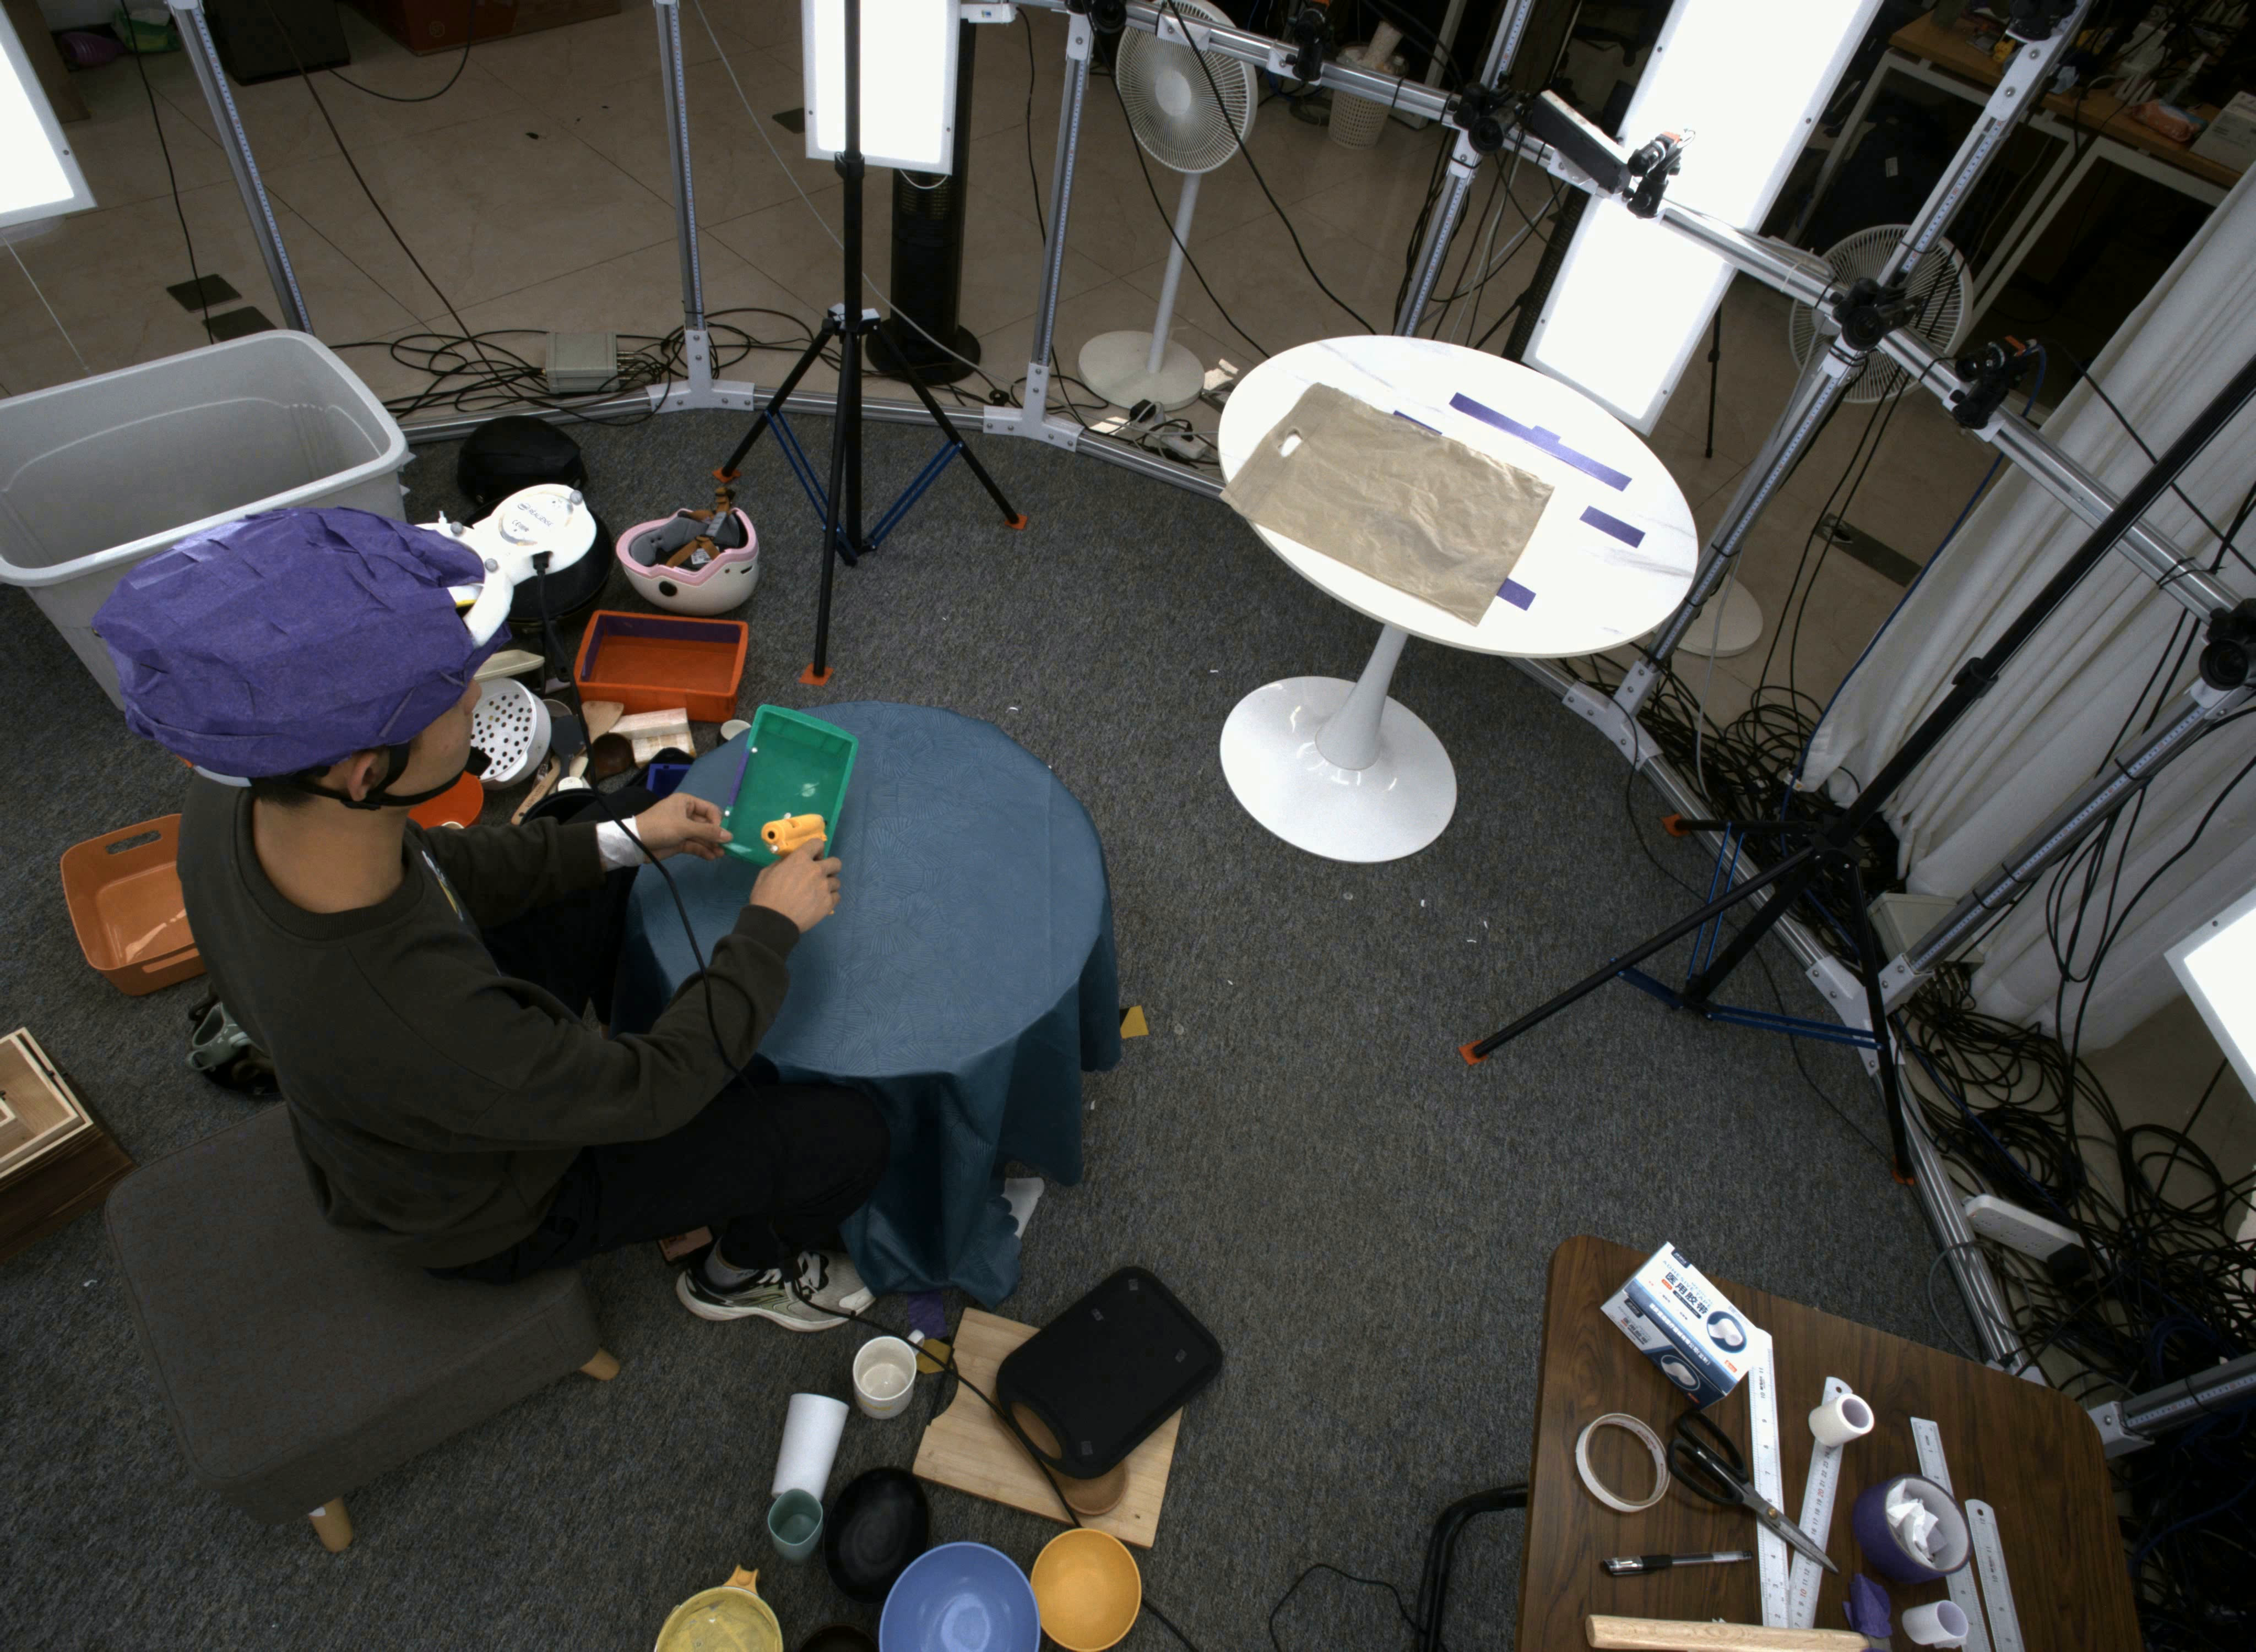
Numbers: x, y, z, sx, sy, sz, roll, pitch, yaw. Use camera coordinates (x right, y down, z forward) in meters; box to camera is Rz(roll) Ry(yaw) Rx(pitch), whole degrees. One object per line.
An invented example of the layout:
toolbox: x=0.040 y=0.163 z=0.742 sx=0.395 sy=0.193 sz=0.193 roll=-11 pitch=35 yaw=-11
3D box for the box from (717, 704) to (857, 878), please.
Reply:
box: x=-0.438 y=-0.037 z=1.654 sx=0.141 sy=0.064 sz=0.209 roll=17 pitch=69 yaw=-22

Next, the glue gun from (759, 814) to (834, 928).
glue gun: x=-0.378 y=0.043 z=1.571 sx=0.030 sy=0.151 sz=0.135 roll=-24 pitch=97 yaw=15
